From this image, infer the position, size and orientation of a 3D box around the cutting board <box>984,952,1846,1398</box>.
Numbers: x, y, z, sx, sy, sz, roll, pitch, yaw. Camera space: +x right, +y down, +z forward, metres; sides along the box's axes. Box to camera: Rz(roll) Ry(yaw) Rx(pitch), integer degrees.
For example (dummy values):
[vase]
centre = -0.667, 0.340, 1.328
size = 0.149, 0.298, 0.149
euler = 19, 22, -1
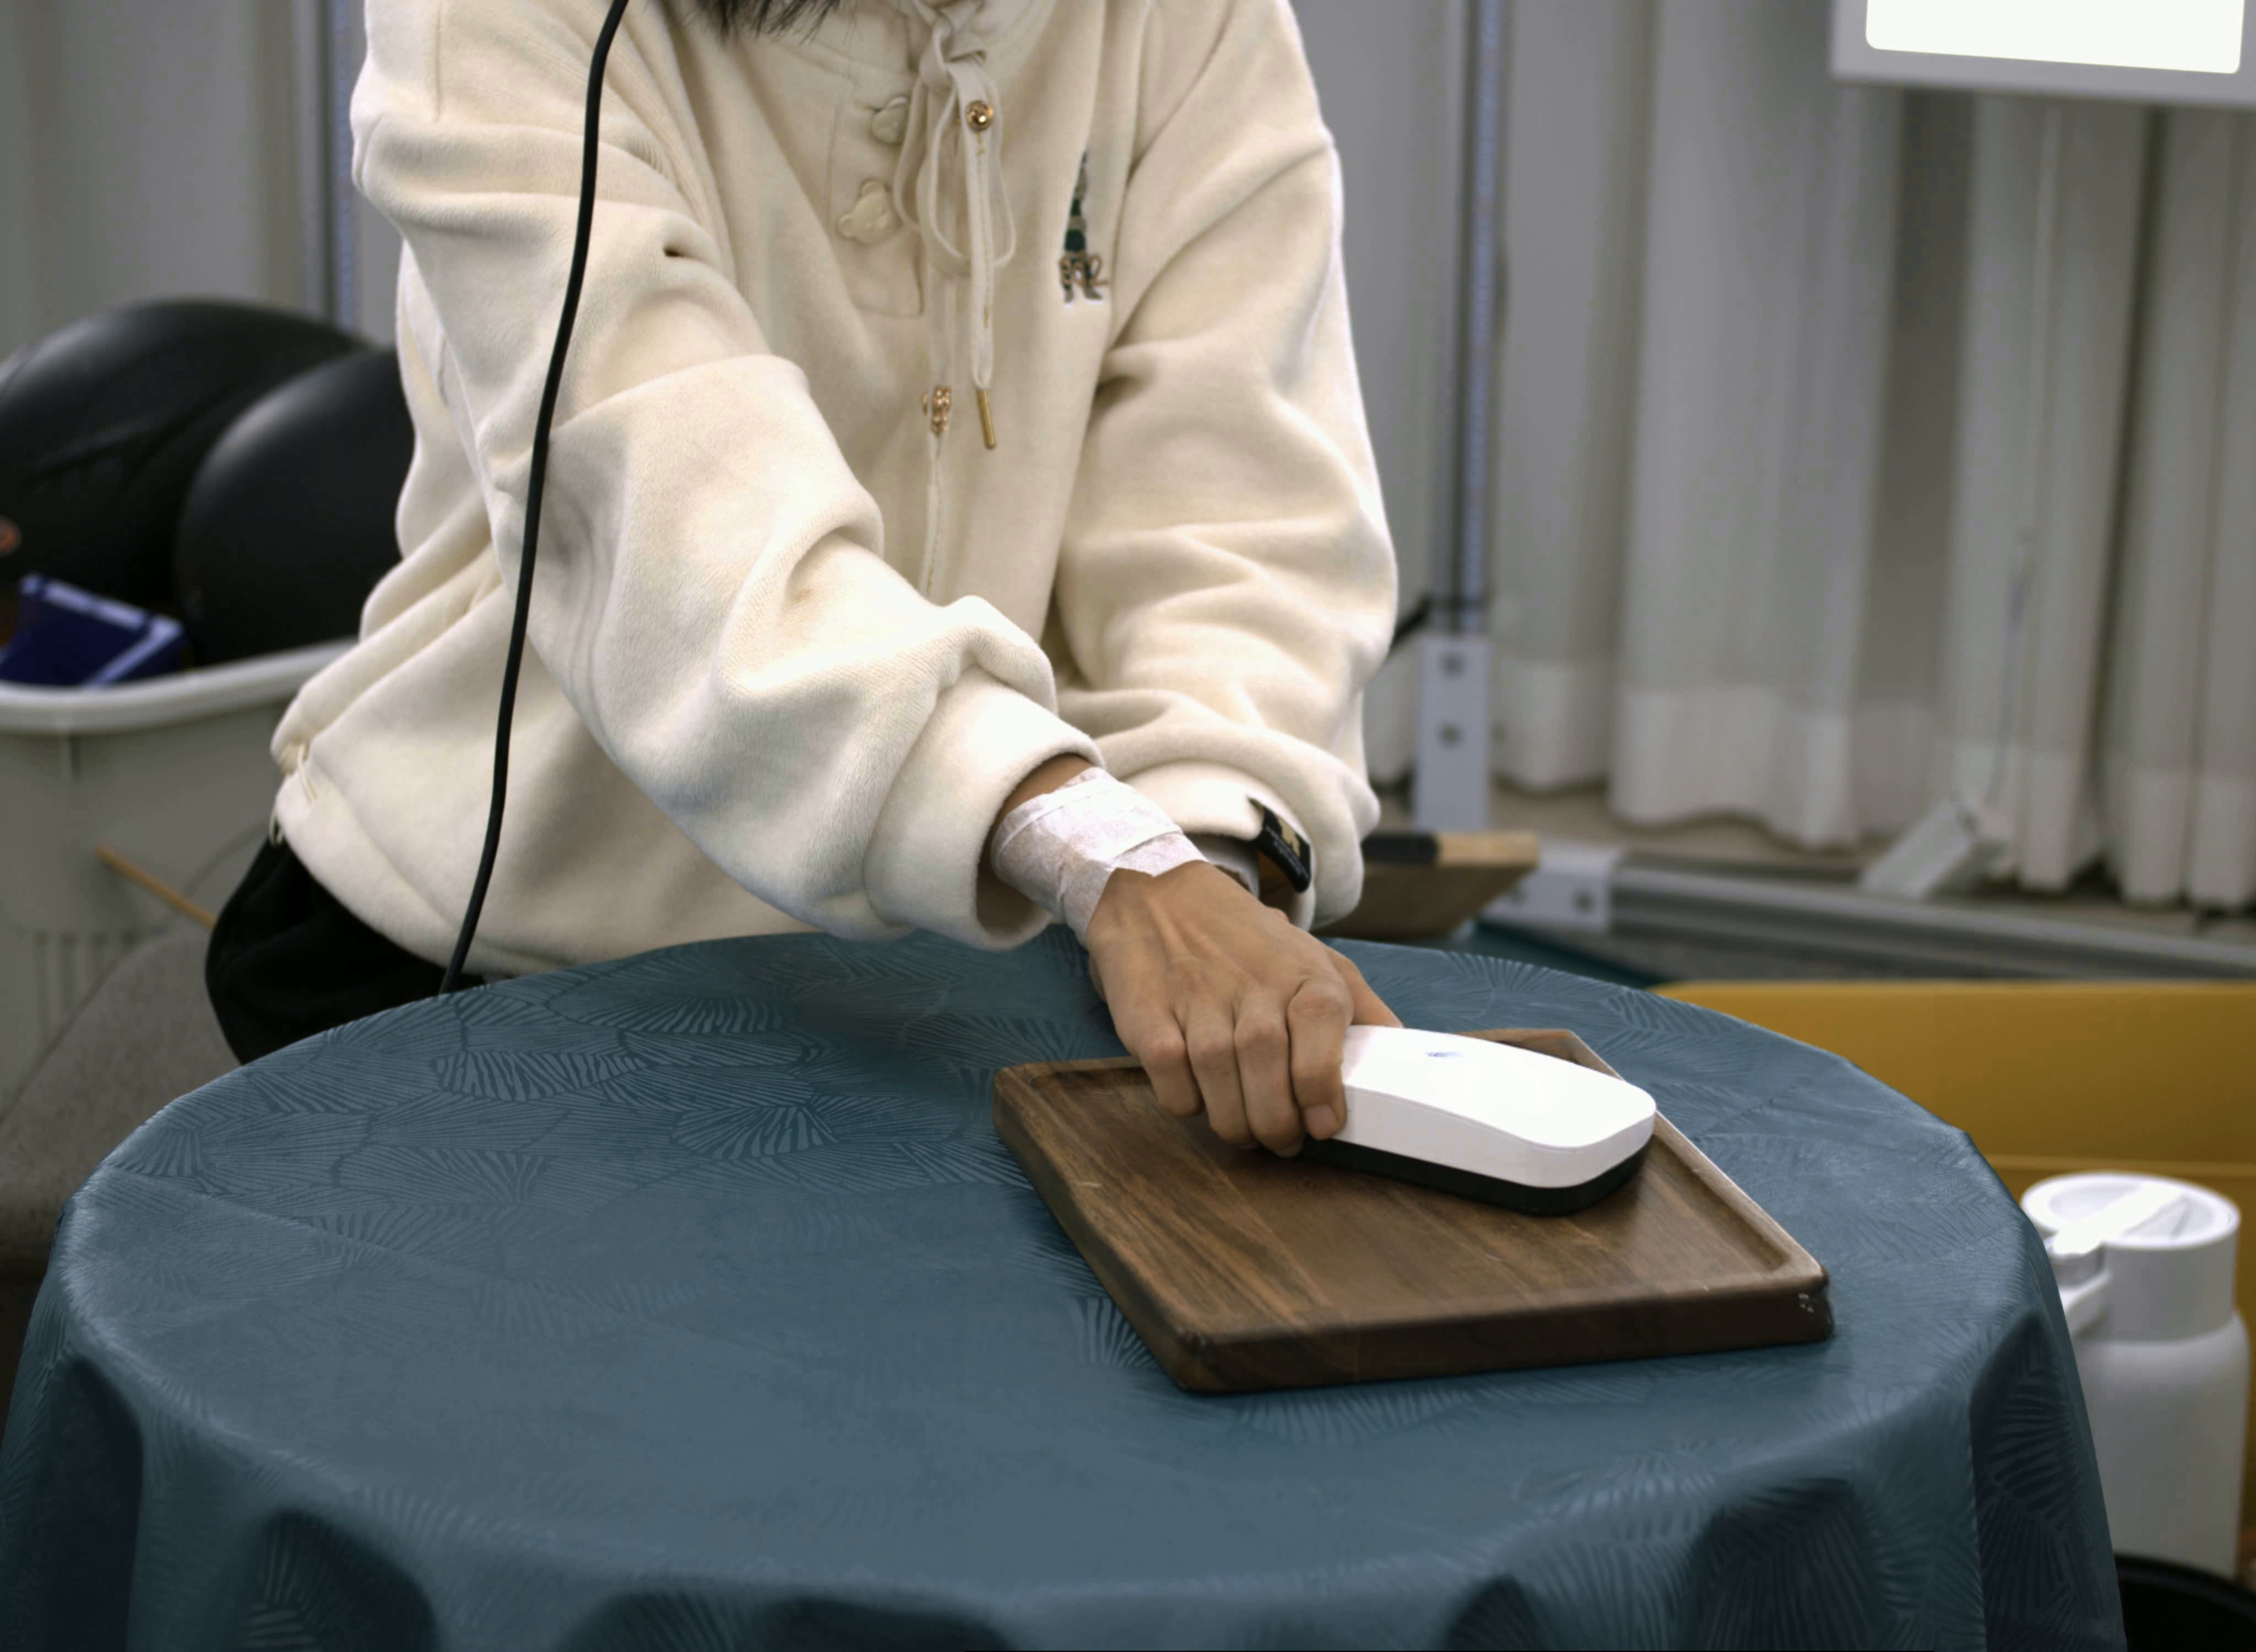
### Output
[cutting board]
centre = 0.067, 0.098, 1.634
size = 0.201, 0.023, 0.348
euler = -3, 16, -15

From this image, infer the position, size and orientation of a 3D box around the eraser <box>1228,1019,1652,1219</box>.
[eraser]
centre = 0.095, 0.086, 1.604
size = 0.129, 0.035, 0.063
euler = 13, 20, 37
